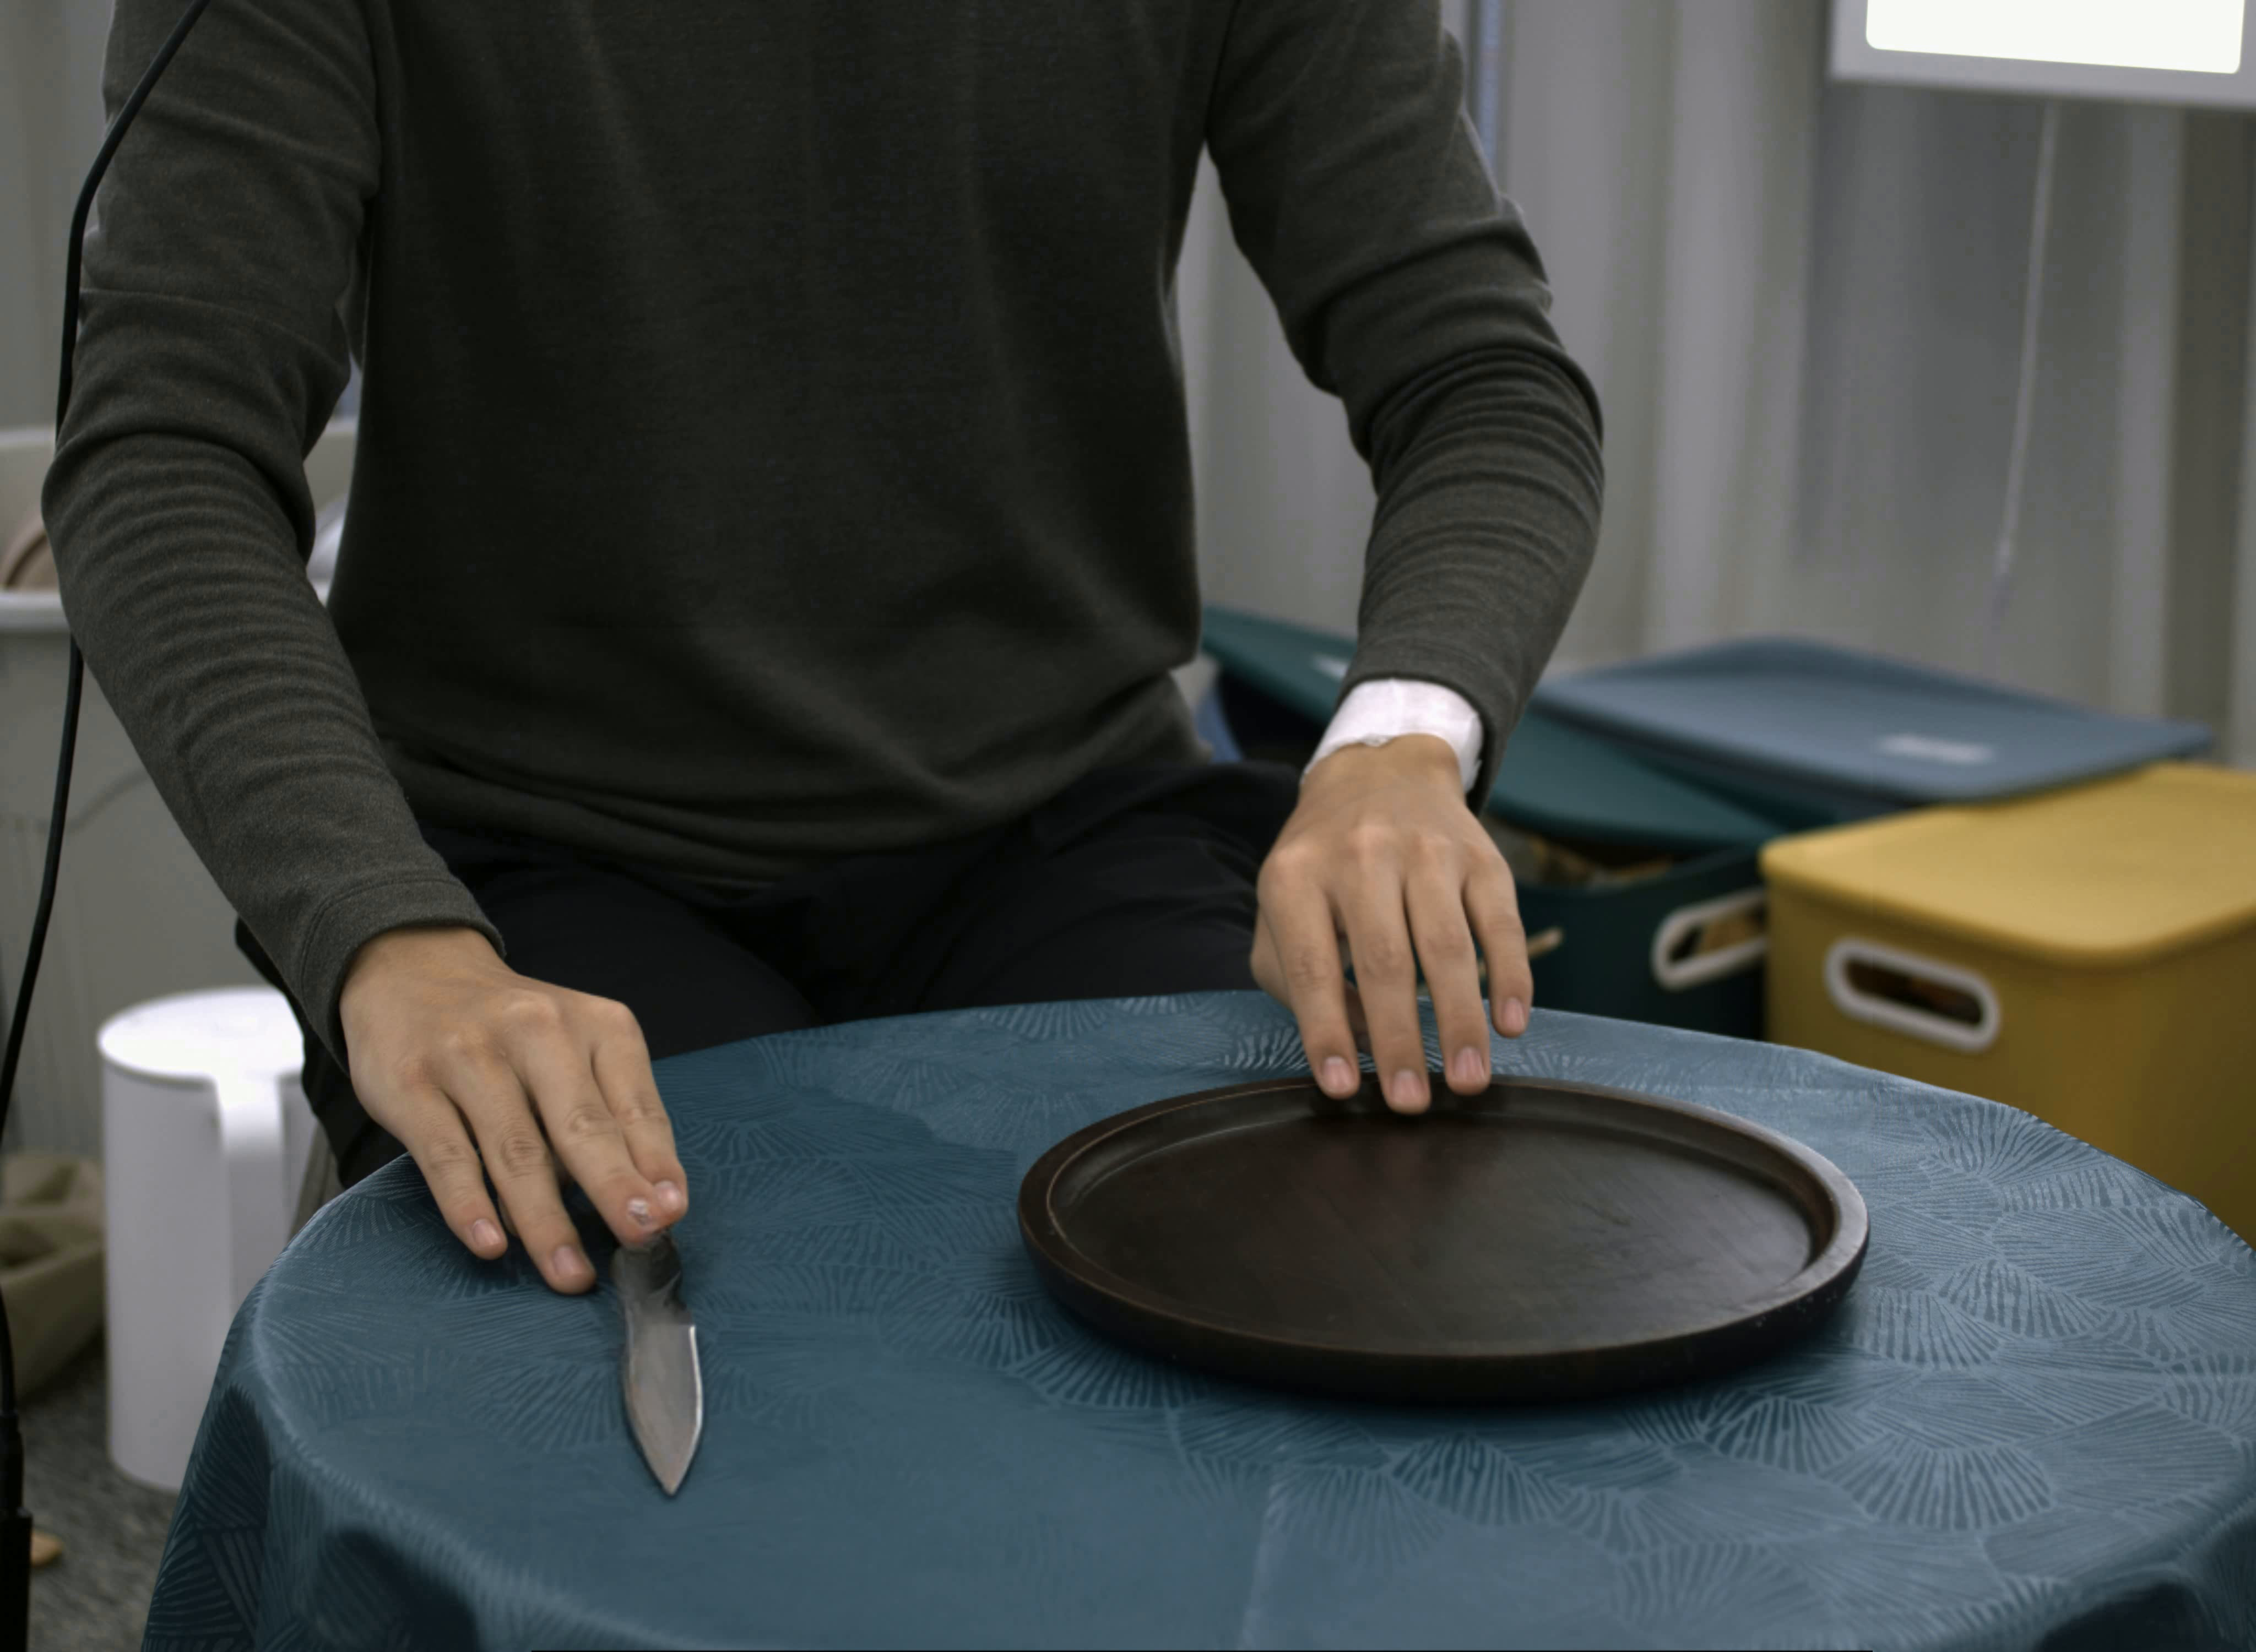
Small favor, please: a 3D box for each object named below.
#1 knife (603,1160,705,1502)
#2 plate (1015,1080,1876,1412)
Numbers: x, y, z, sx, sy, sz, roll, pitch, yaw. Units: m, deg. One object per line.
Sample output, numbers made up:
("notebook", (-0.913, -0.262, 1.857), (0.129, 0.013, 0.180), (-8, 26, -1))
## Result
("knife", (-0.136, 0.142, 1.492), (0.024, 0.016, 0.236), (2, 17, -9))
("plate", (0.093, 0.120, 1.556), (0.254, 0.029, 0.253), (2, 16, 0))
